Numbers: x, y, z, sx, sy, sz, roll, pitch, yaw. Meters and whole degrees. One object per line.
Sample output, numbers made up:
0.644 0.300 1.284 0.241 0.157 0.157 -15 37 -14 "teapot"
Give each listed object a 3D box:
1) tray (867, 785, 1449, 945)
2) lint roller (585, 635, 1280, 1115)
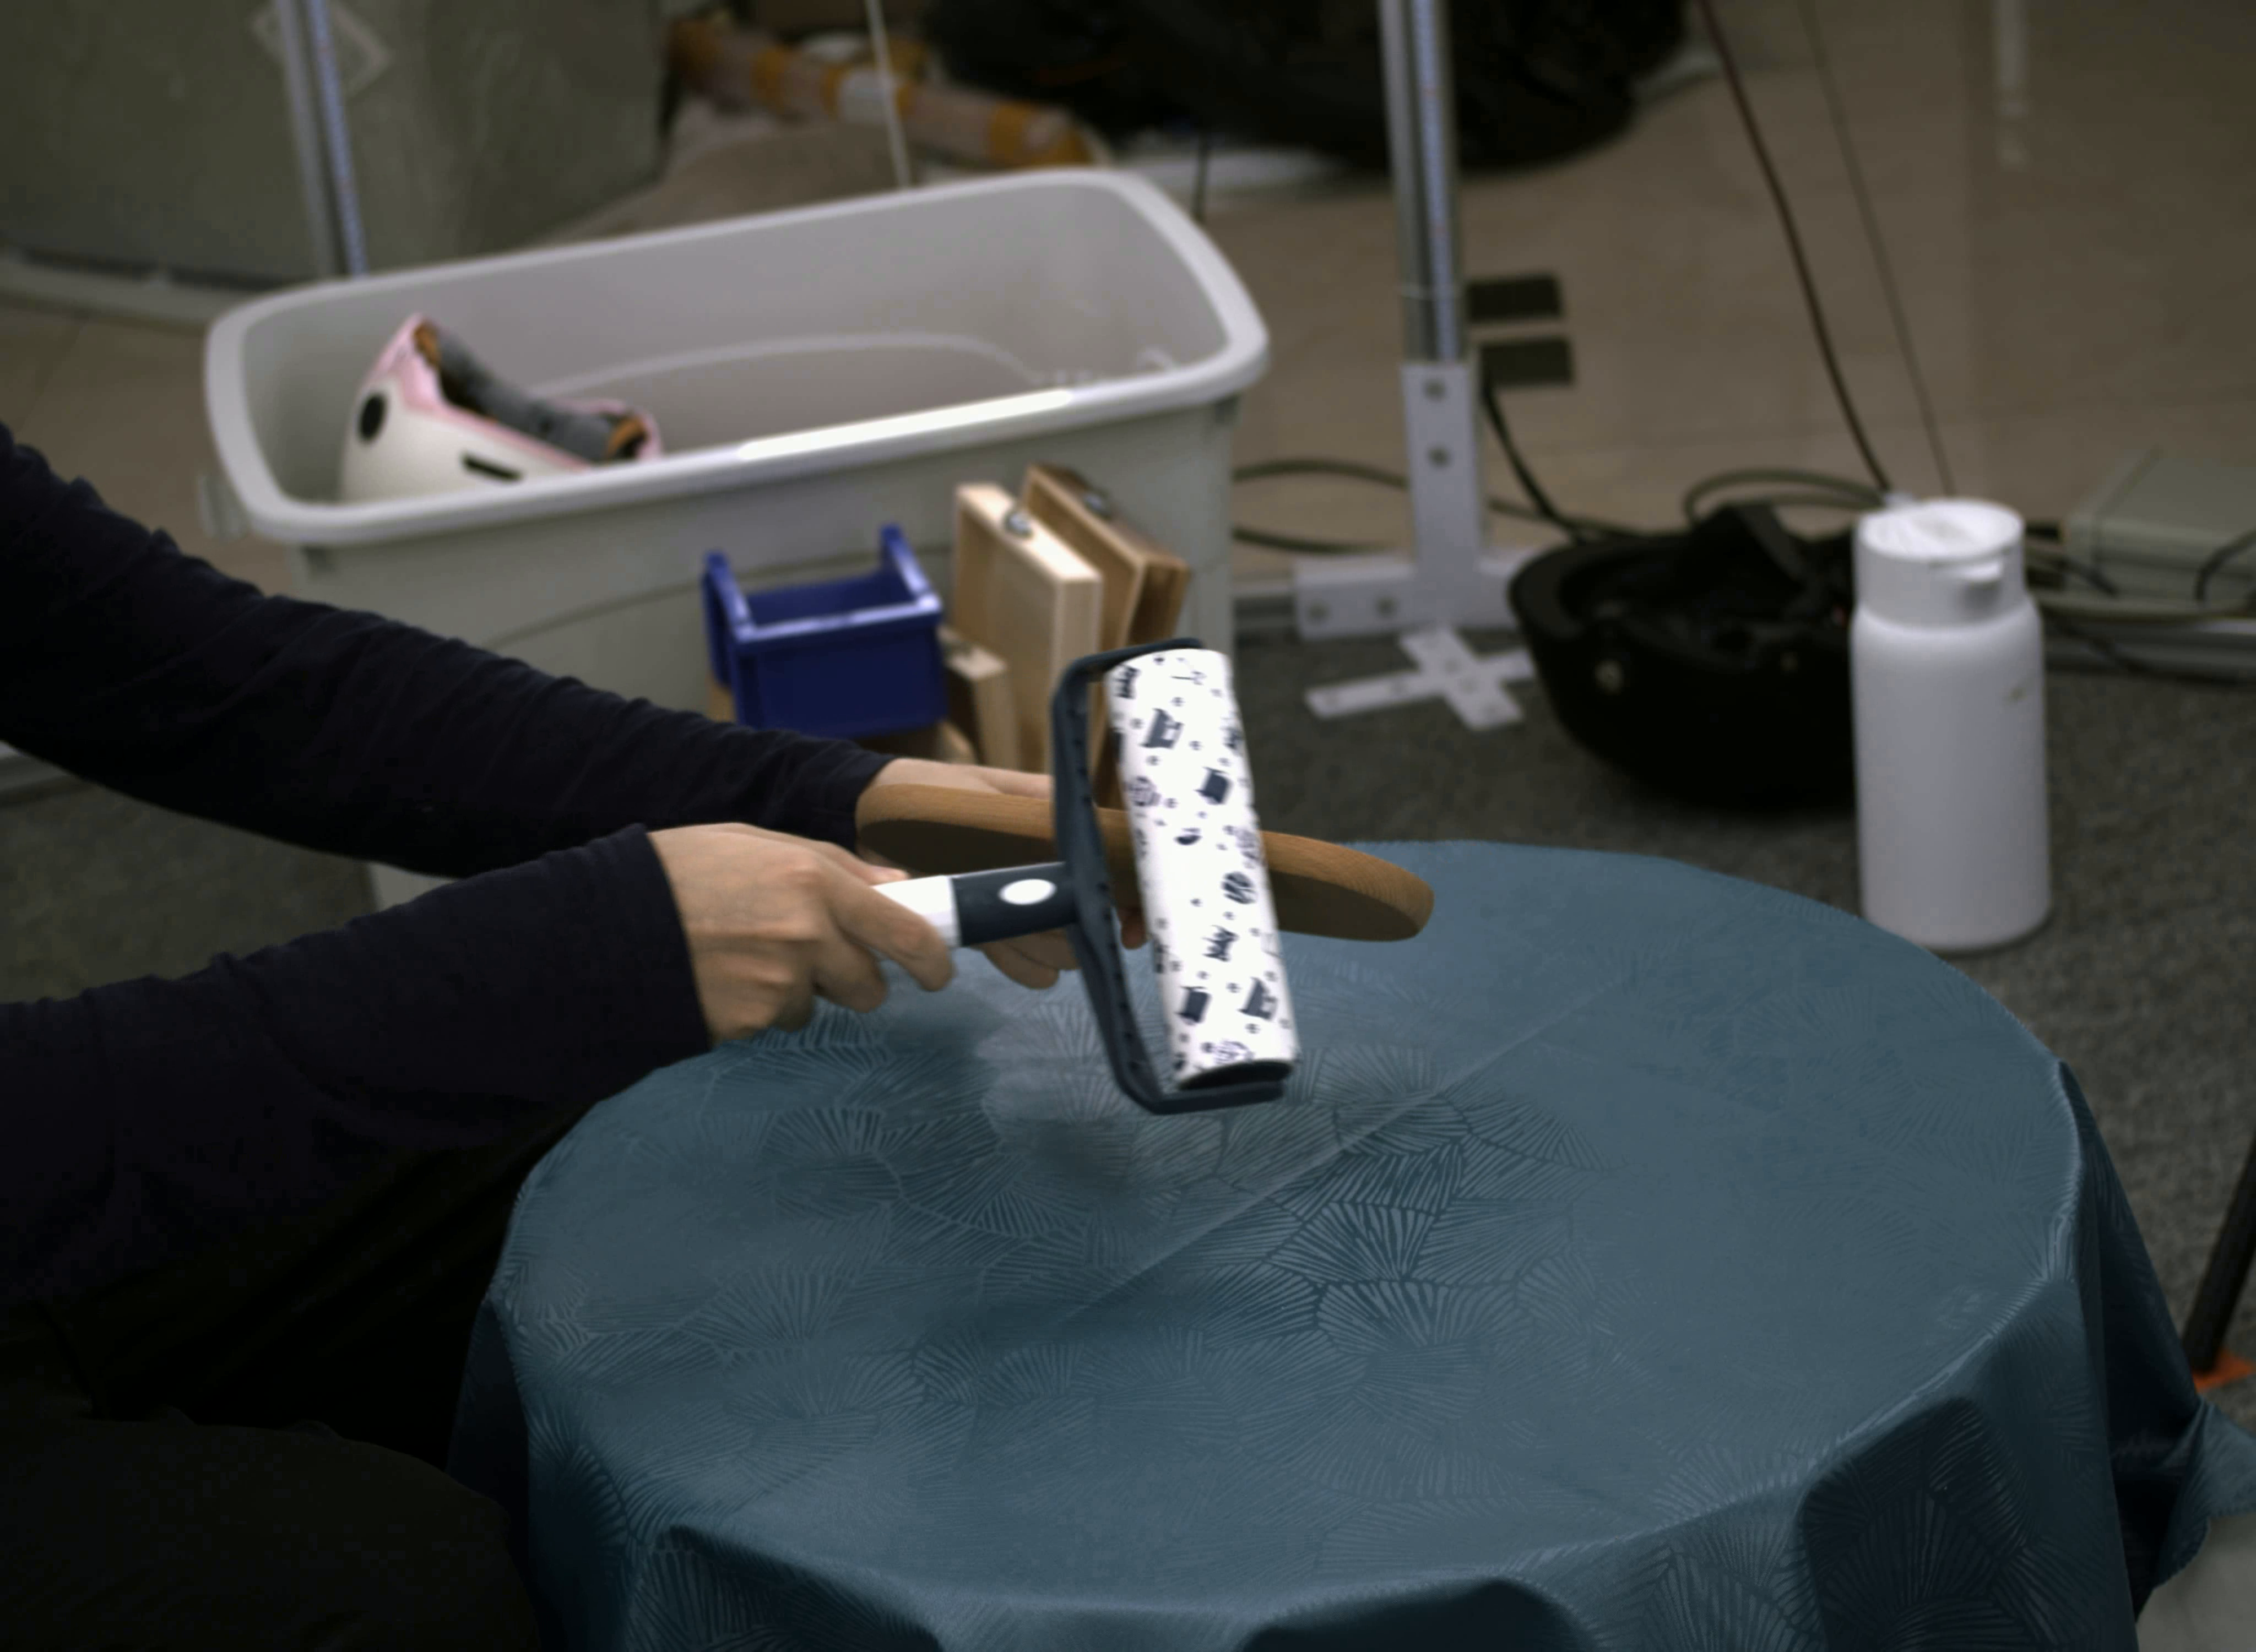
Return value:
0.010 0.016 2.172 0.230 0.020 0.102 10 -12 17 "tray"
-0.078 0.034 2.081 0.246 0.175 0.051 -10 -14 -3 "lint roller"
